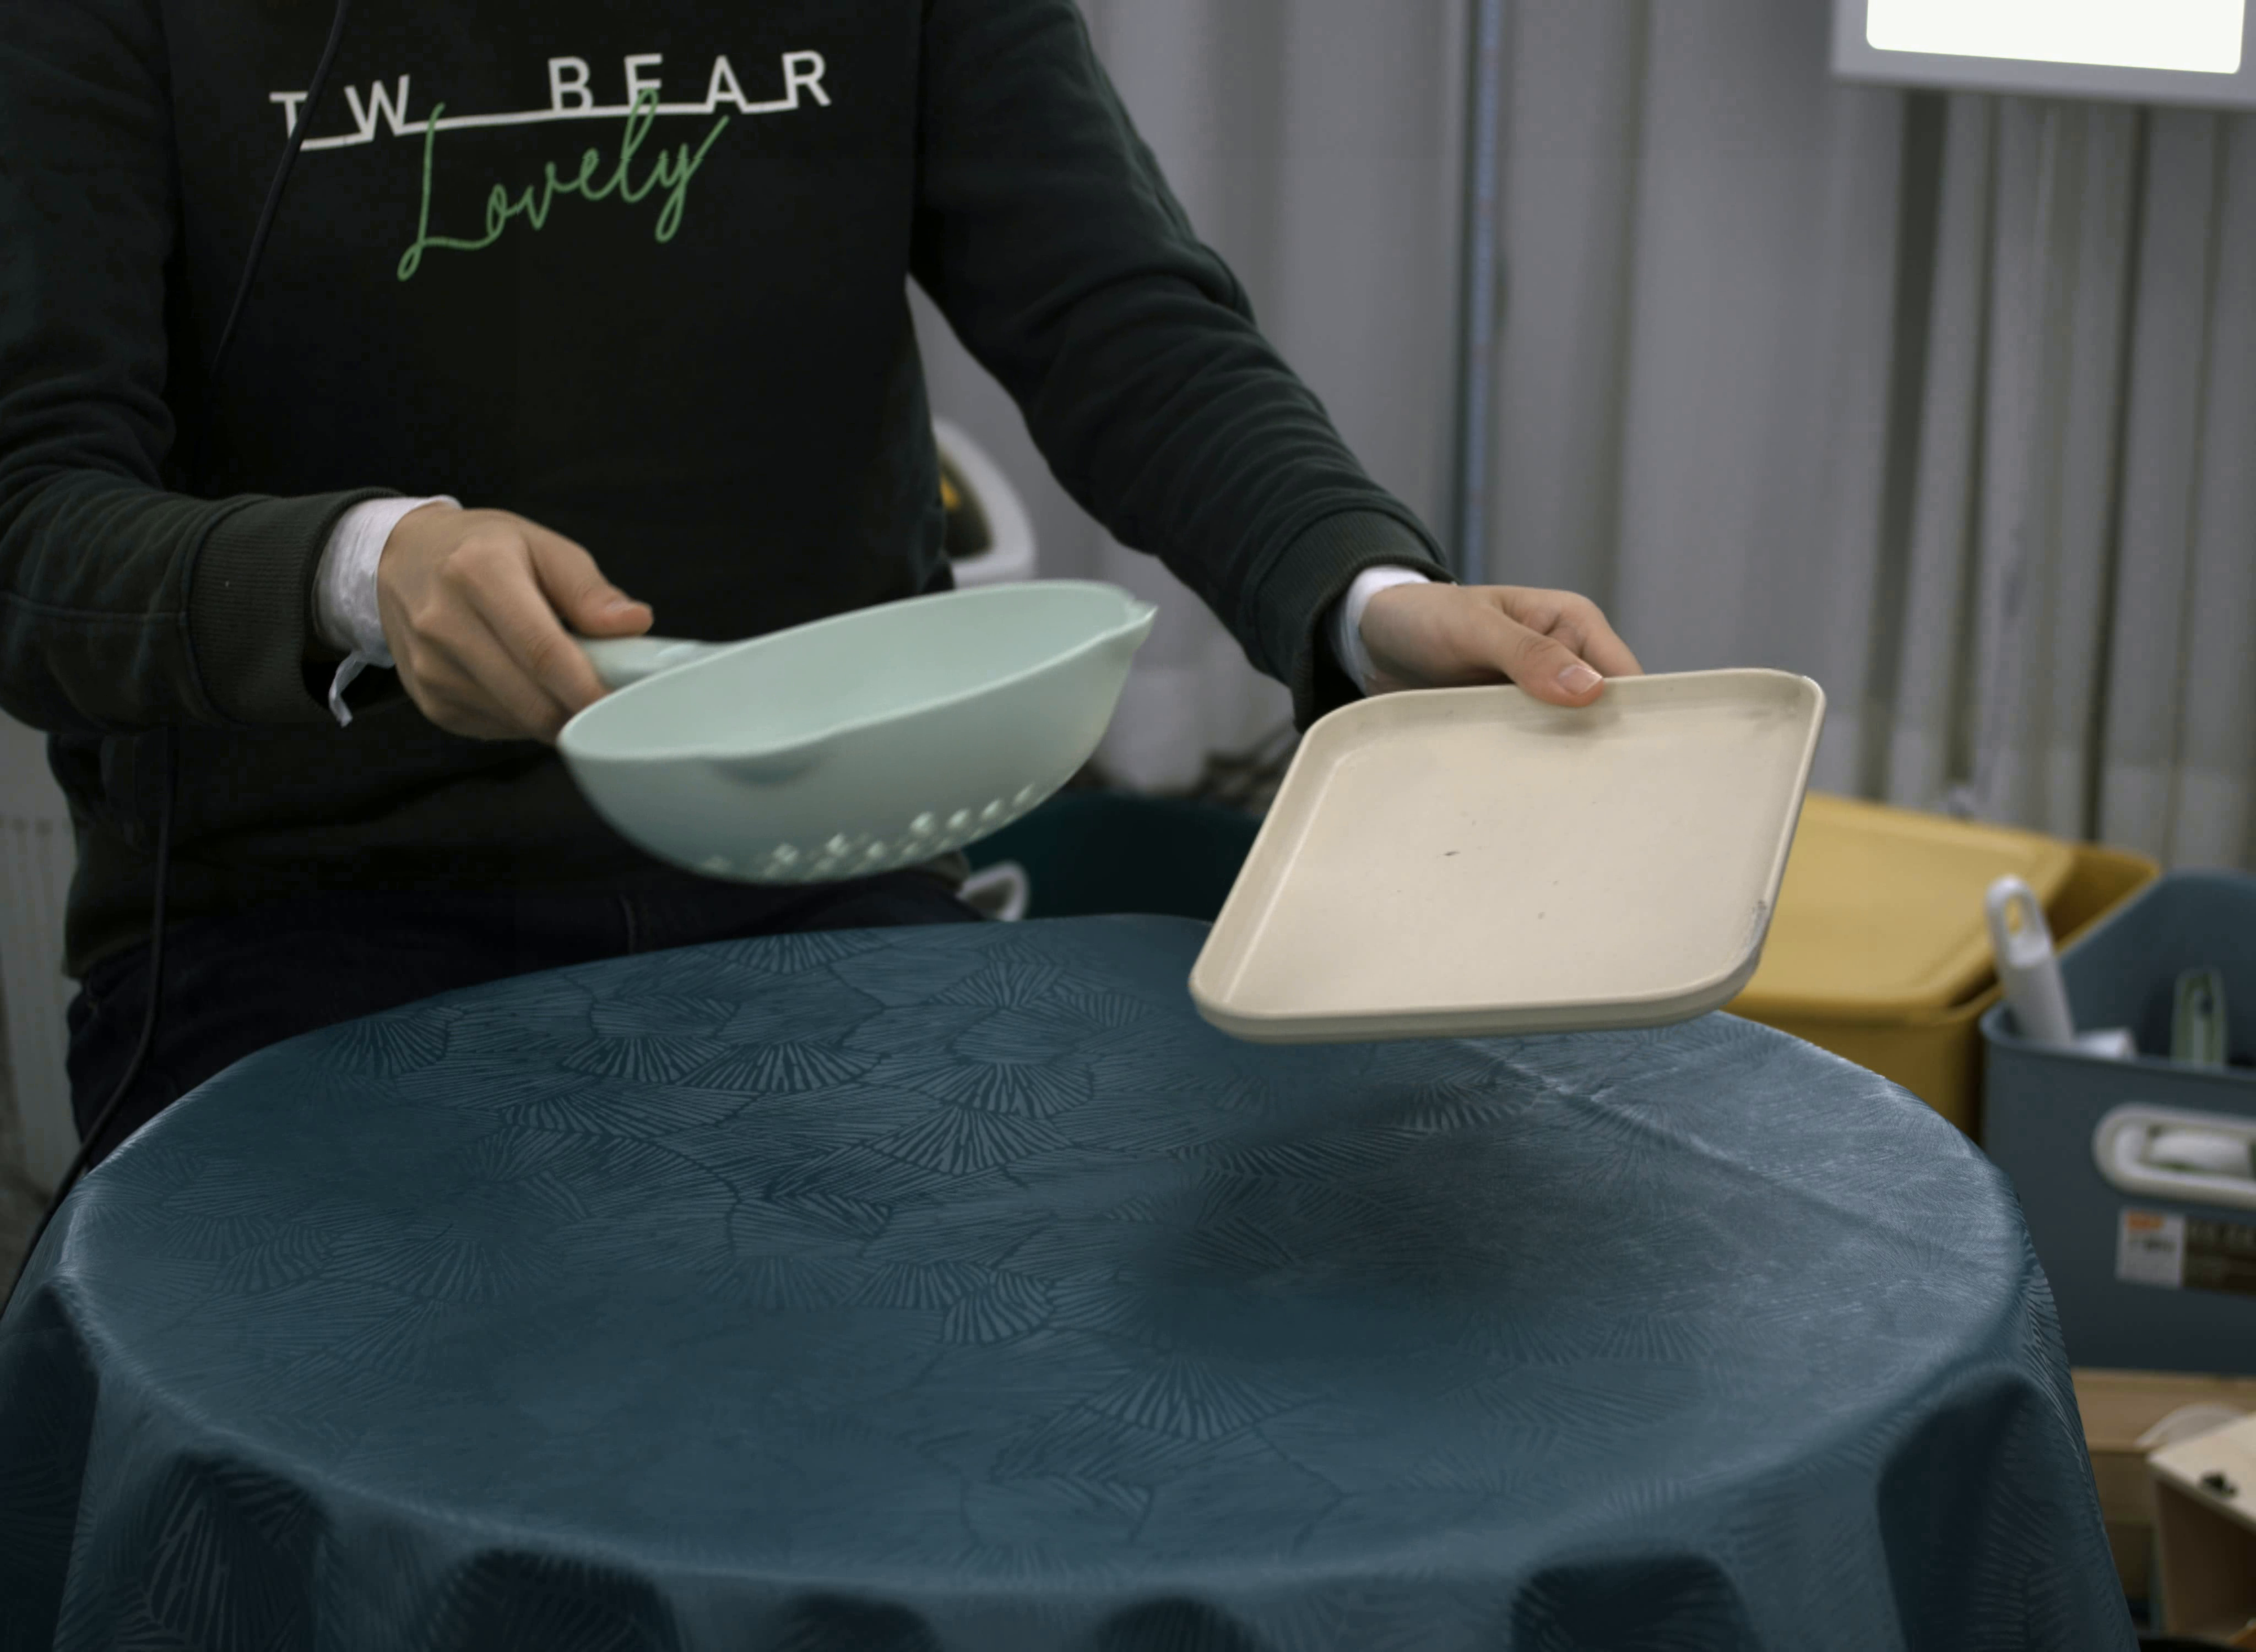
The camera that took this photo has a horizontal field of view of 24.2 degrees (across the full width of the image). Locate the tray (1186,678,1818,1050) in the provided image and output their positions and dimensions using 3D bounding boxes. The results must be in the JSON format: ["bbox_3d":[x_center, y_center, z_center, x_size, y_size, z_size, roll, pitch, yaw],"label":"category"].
[{"bbox_3d":[0.118,0.011,1.605,0.170,0.017,0.239,-3,23,15],"label":"tray"}]

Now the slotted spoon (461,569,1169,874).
[{"bbox_3d":[-0.125,-0.044,1.589,0.170,0.076,0.354,-20,22,-29],"label":"slotted spoon"}]
